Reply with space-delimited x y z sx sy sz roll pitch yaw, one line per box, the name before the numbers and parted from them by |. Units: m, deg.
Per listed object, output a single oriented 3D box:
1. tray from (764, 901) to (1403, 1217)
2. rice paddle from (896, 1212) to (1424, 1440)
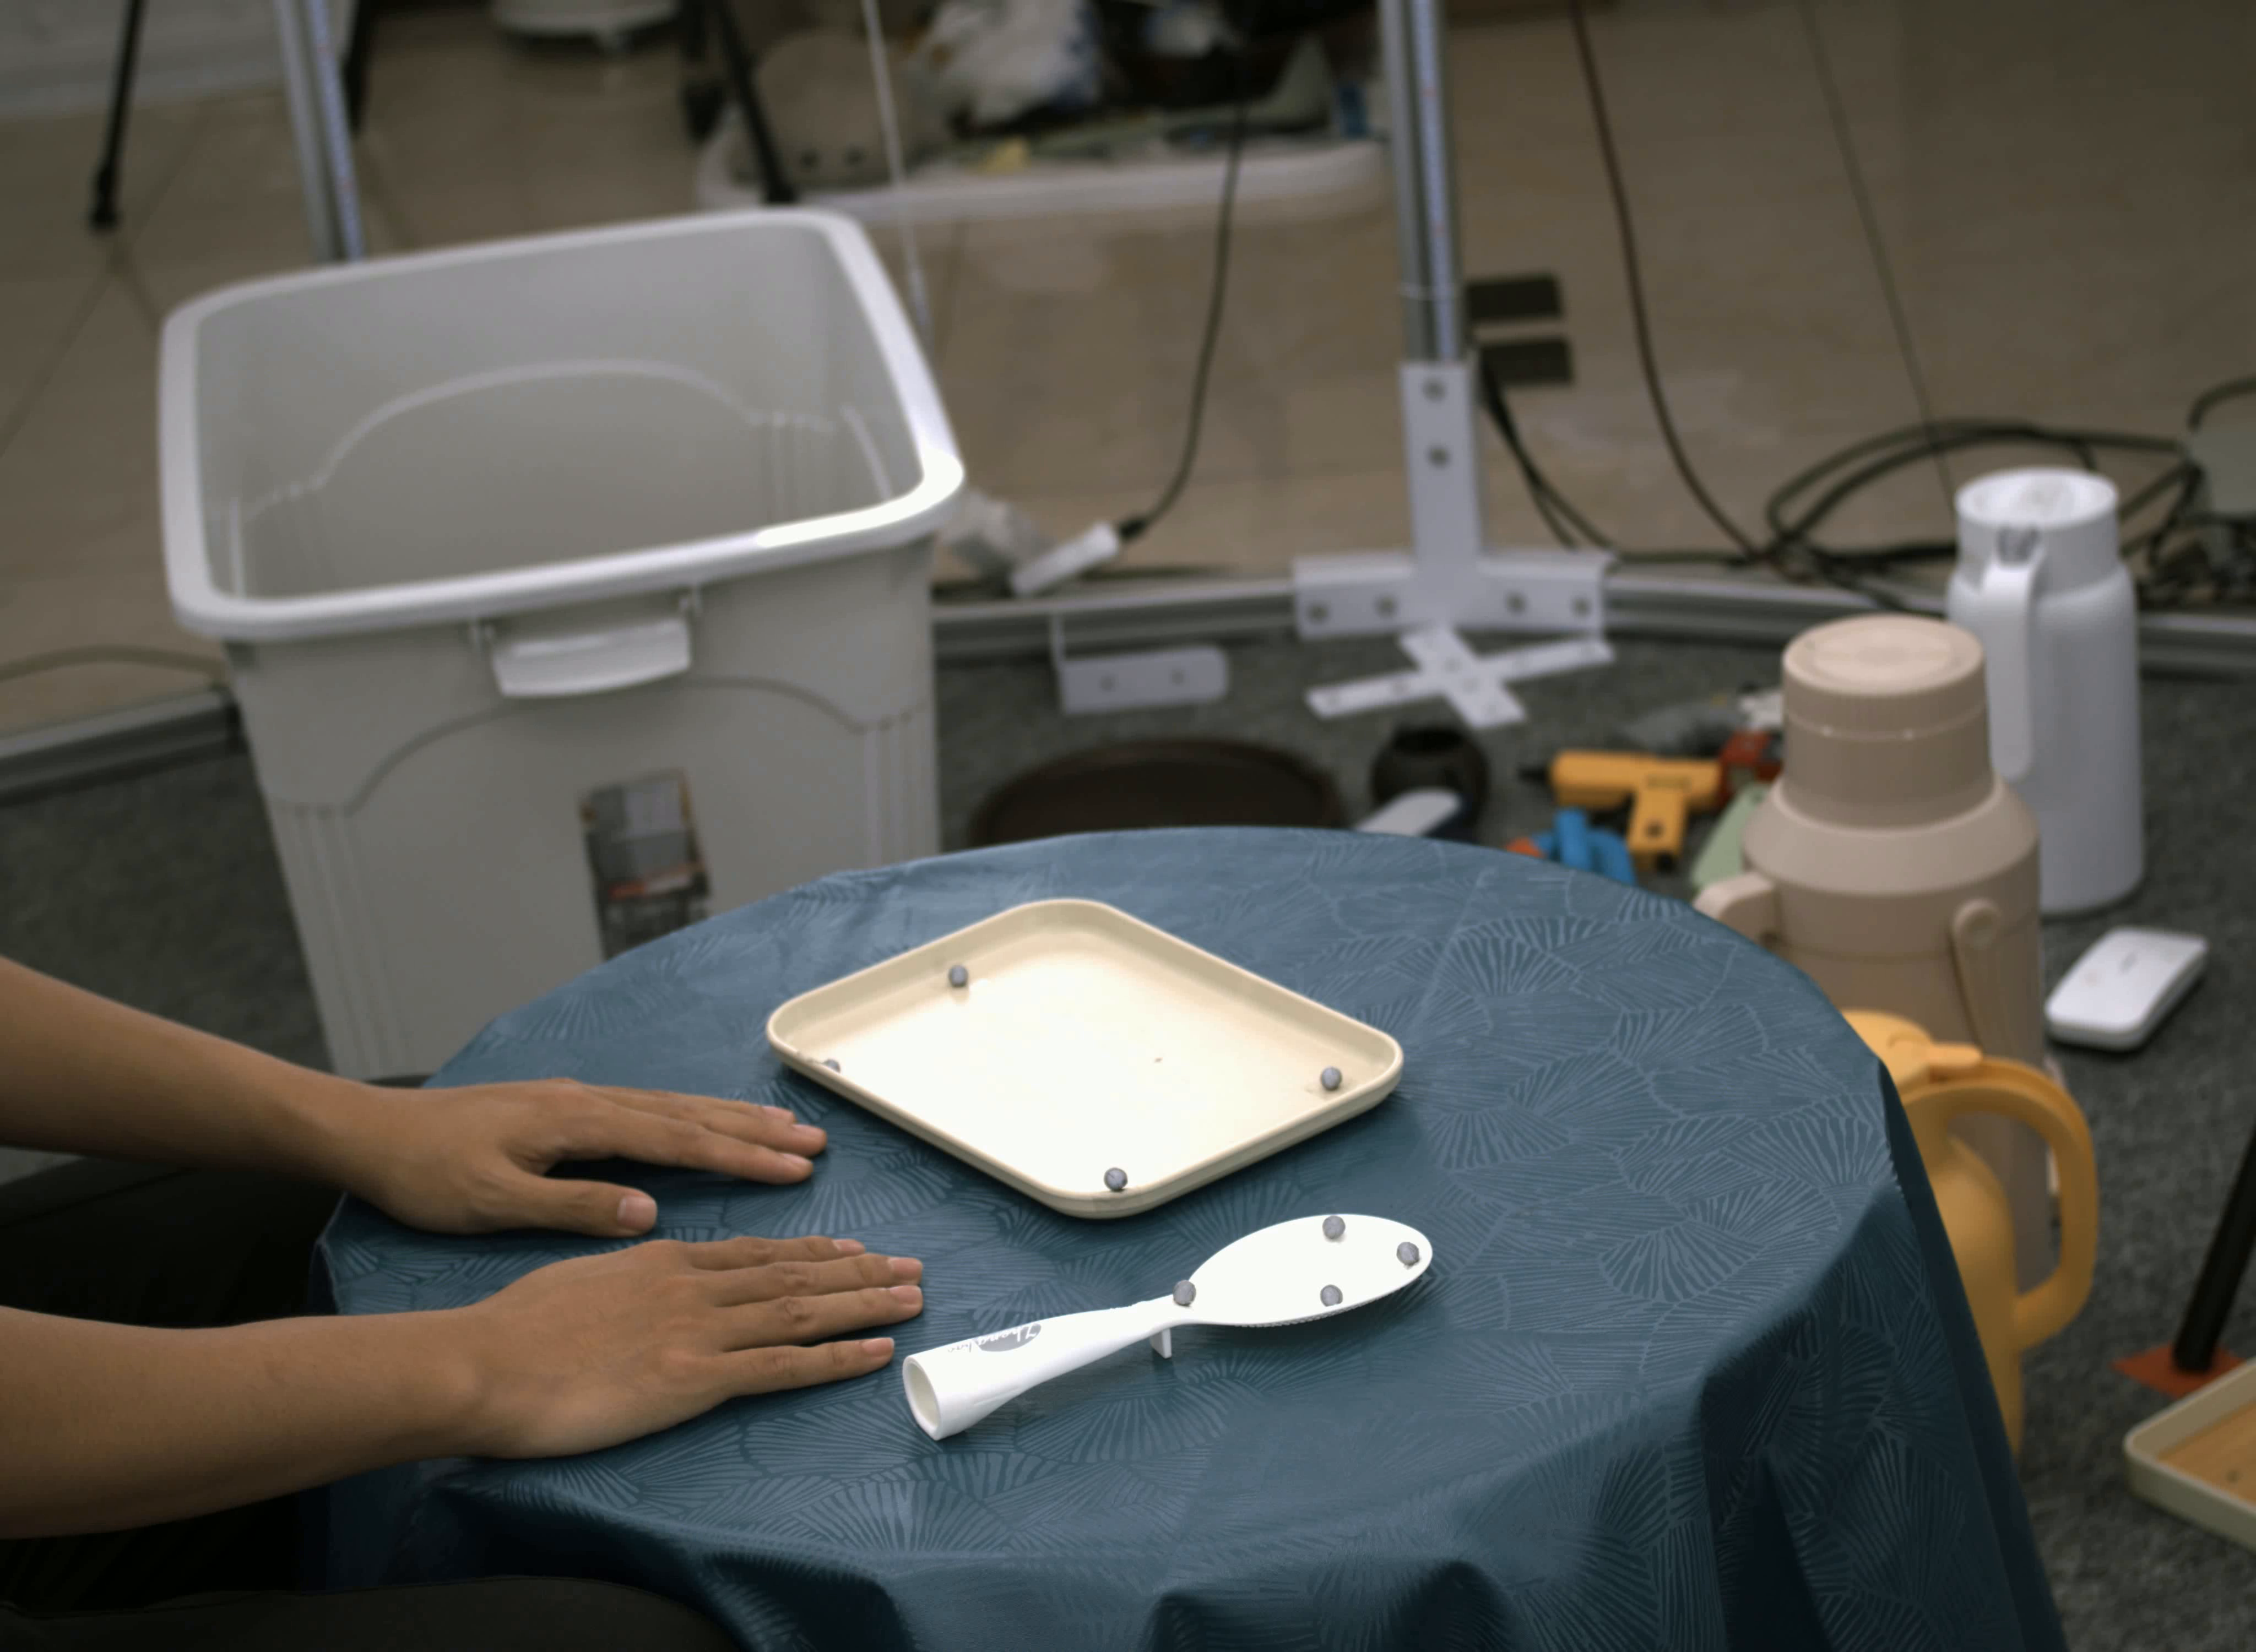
tray | -0.019 0.091 2.240 0.170 0.018 0.237 -22 29 -32
rice paddle | 0.014 0.174 2.036 0.204 0.030 0.068 -17 28 -22
